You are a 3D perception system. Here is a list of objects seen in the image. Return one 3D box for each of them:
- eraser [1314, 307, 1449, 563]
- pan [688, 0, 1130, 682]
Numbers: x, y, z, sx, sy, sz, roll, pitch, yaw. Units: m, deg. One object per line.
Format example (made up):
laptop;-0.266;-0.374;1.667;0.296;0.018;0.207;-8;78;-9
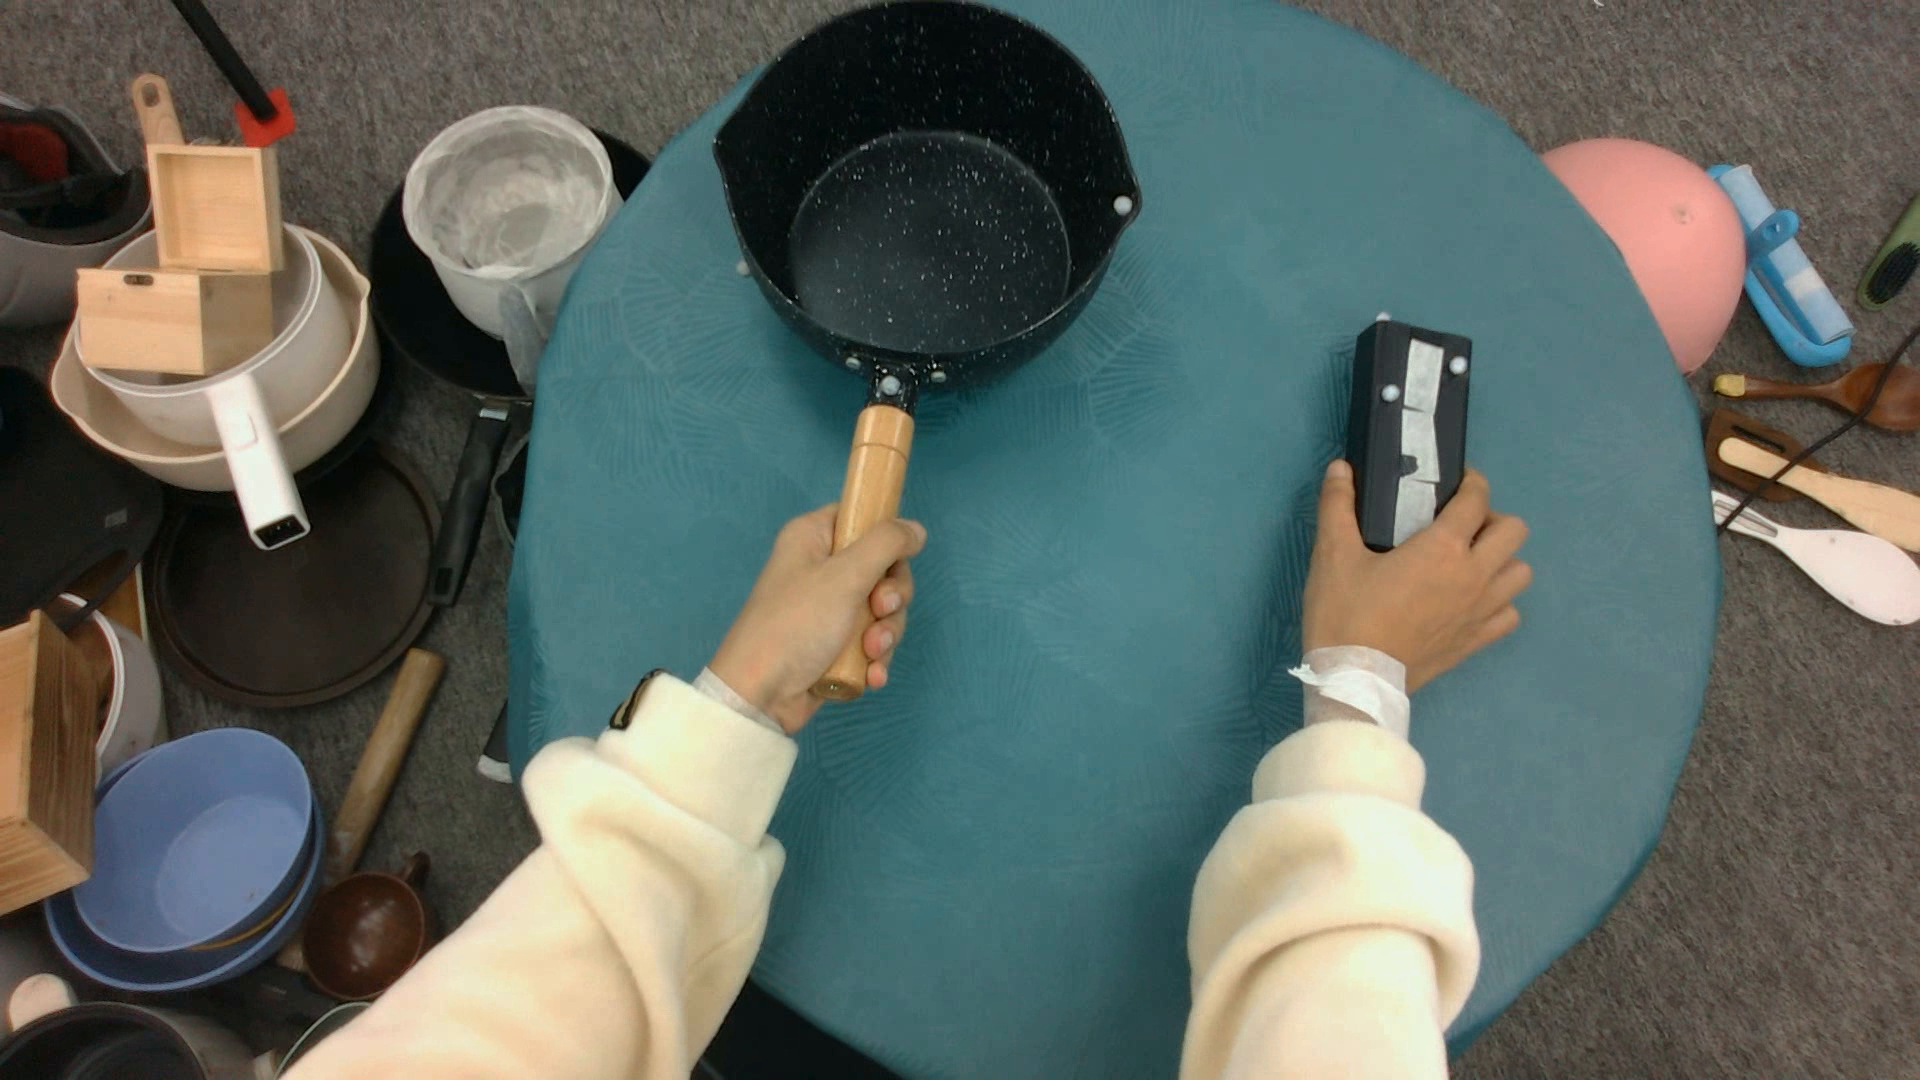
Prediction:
eraser;0.210;-0.053;0.684;0.053;0.030;0.126;13;71;-4
pan;-0.033;-0.092;0.638;0.207;0.108;0.344;7;71;0
